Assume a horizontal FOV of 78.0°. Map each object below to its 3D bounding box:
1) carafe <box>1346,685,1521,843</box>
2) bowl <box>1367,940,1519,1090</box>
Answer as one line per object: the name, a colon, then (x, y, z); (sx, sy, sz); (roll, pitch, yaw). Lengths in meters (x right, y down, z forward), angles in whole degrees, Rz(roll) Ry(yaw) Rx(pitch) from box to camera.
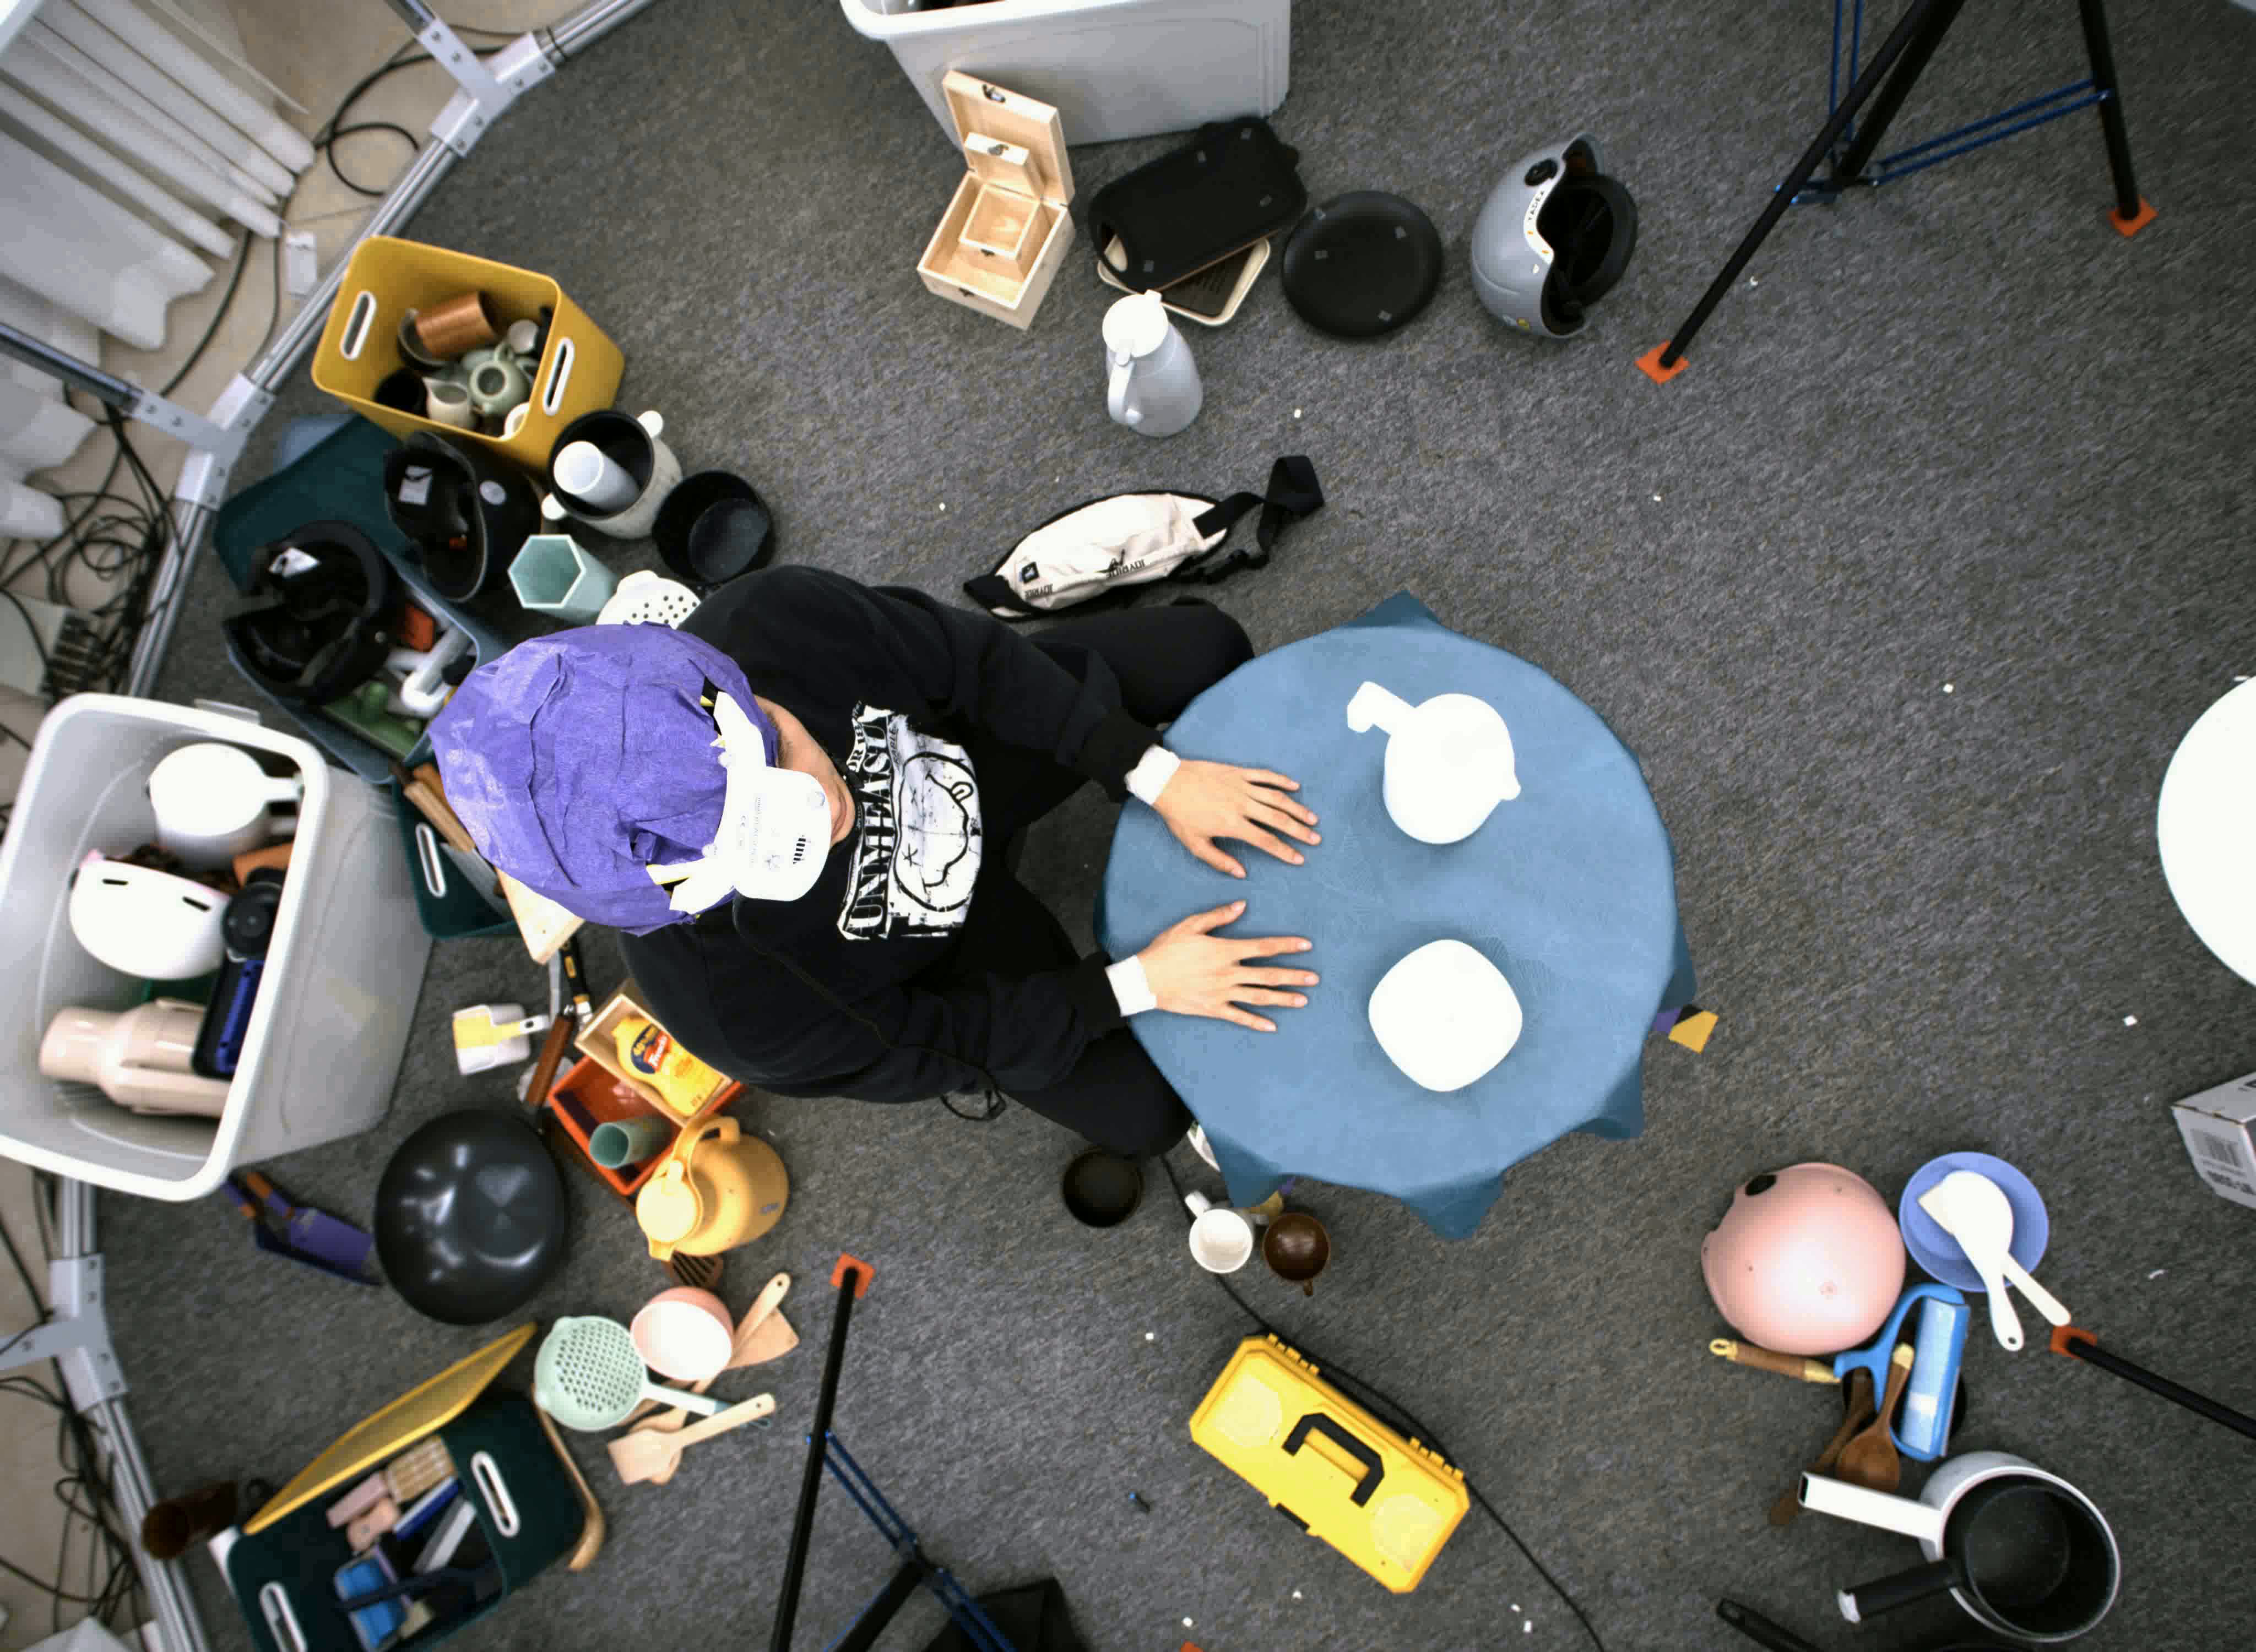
carafe: (0.290, -0.062, 1.328); (0.172, 0.268, 0.124); (33, 93, 11)
bowl: (0.322, 0.192, 1.419); (0.152, 0.058, 0.151); (-1, 86, 11)
